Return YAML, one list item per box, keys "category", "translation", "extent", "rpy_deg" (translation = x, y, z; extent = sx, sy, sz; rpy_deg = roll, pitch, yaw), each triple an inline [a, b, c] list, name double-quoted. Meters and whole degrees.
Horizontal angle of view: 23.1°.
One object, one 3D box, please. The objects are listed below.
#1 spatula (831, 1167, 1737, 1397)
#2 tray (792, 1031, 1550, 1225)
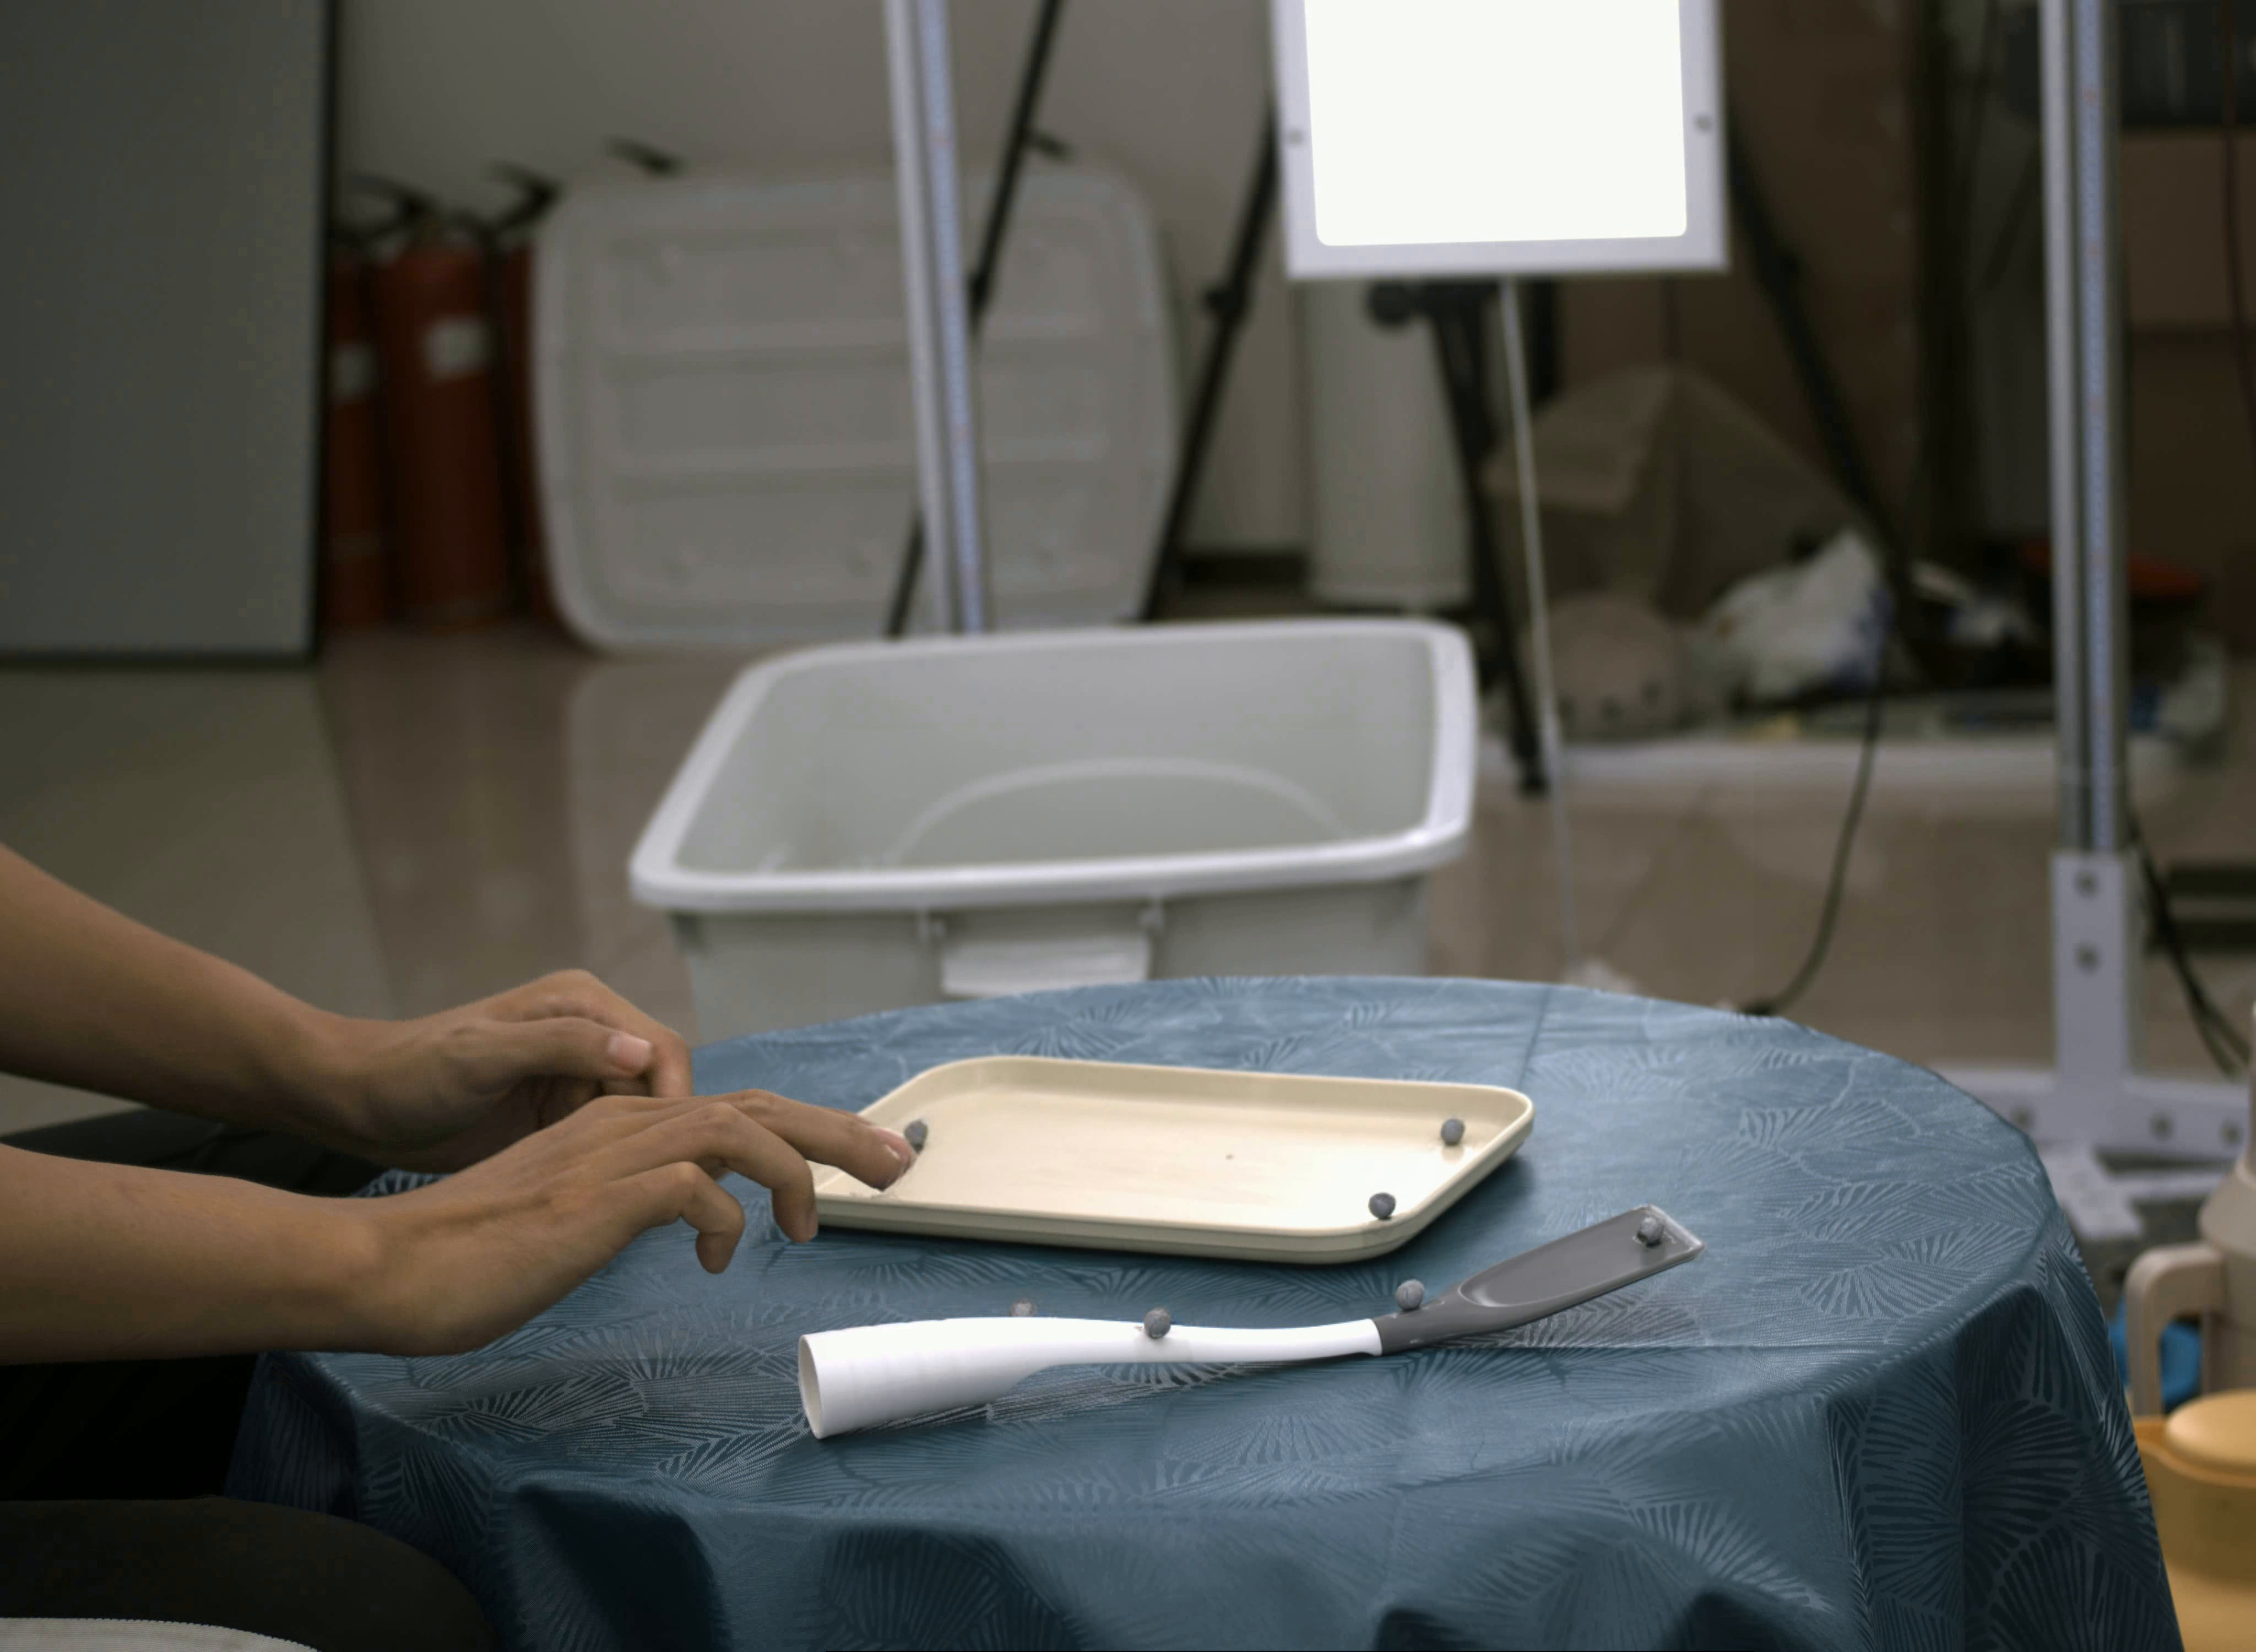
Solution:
- category: "spatula"
  translation: [0.050, 0.141, 1.717]
  extent: [0.284, 0.032, 0.059]
  rpy_deg: [-8, 10, -11]
- category: "tray"
  translation: [0.016, 0.105, 1.917]
  extent: [0.244, 0.017, 0.168]
  rpy_deg: [2, 14, 27]
